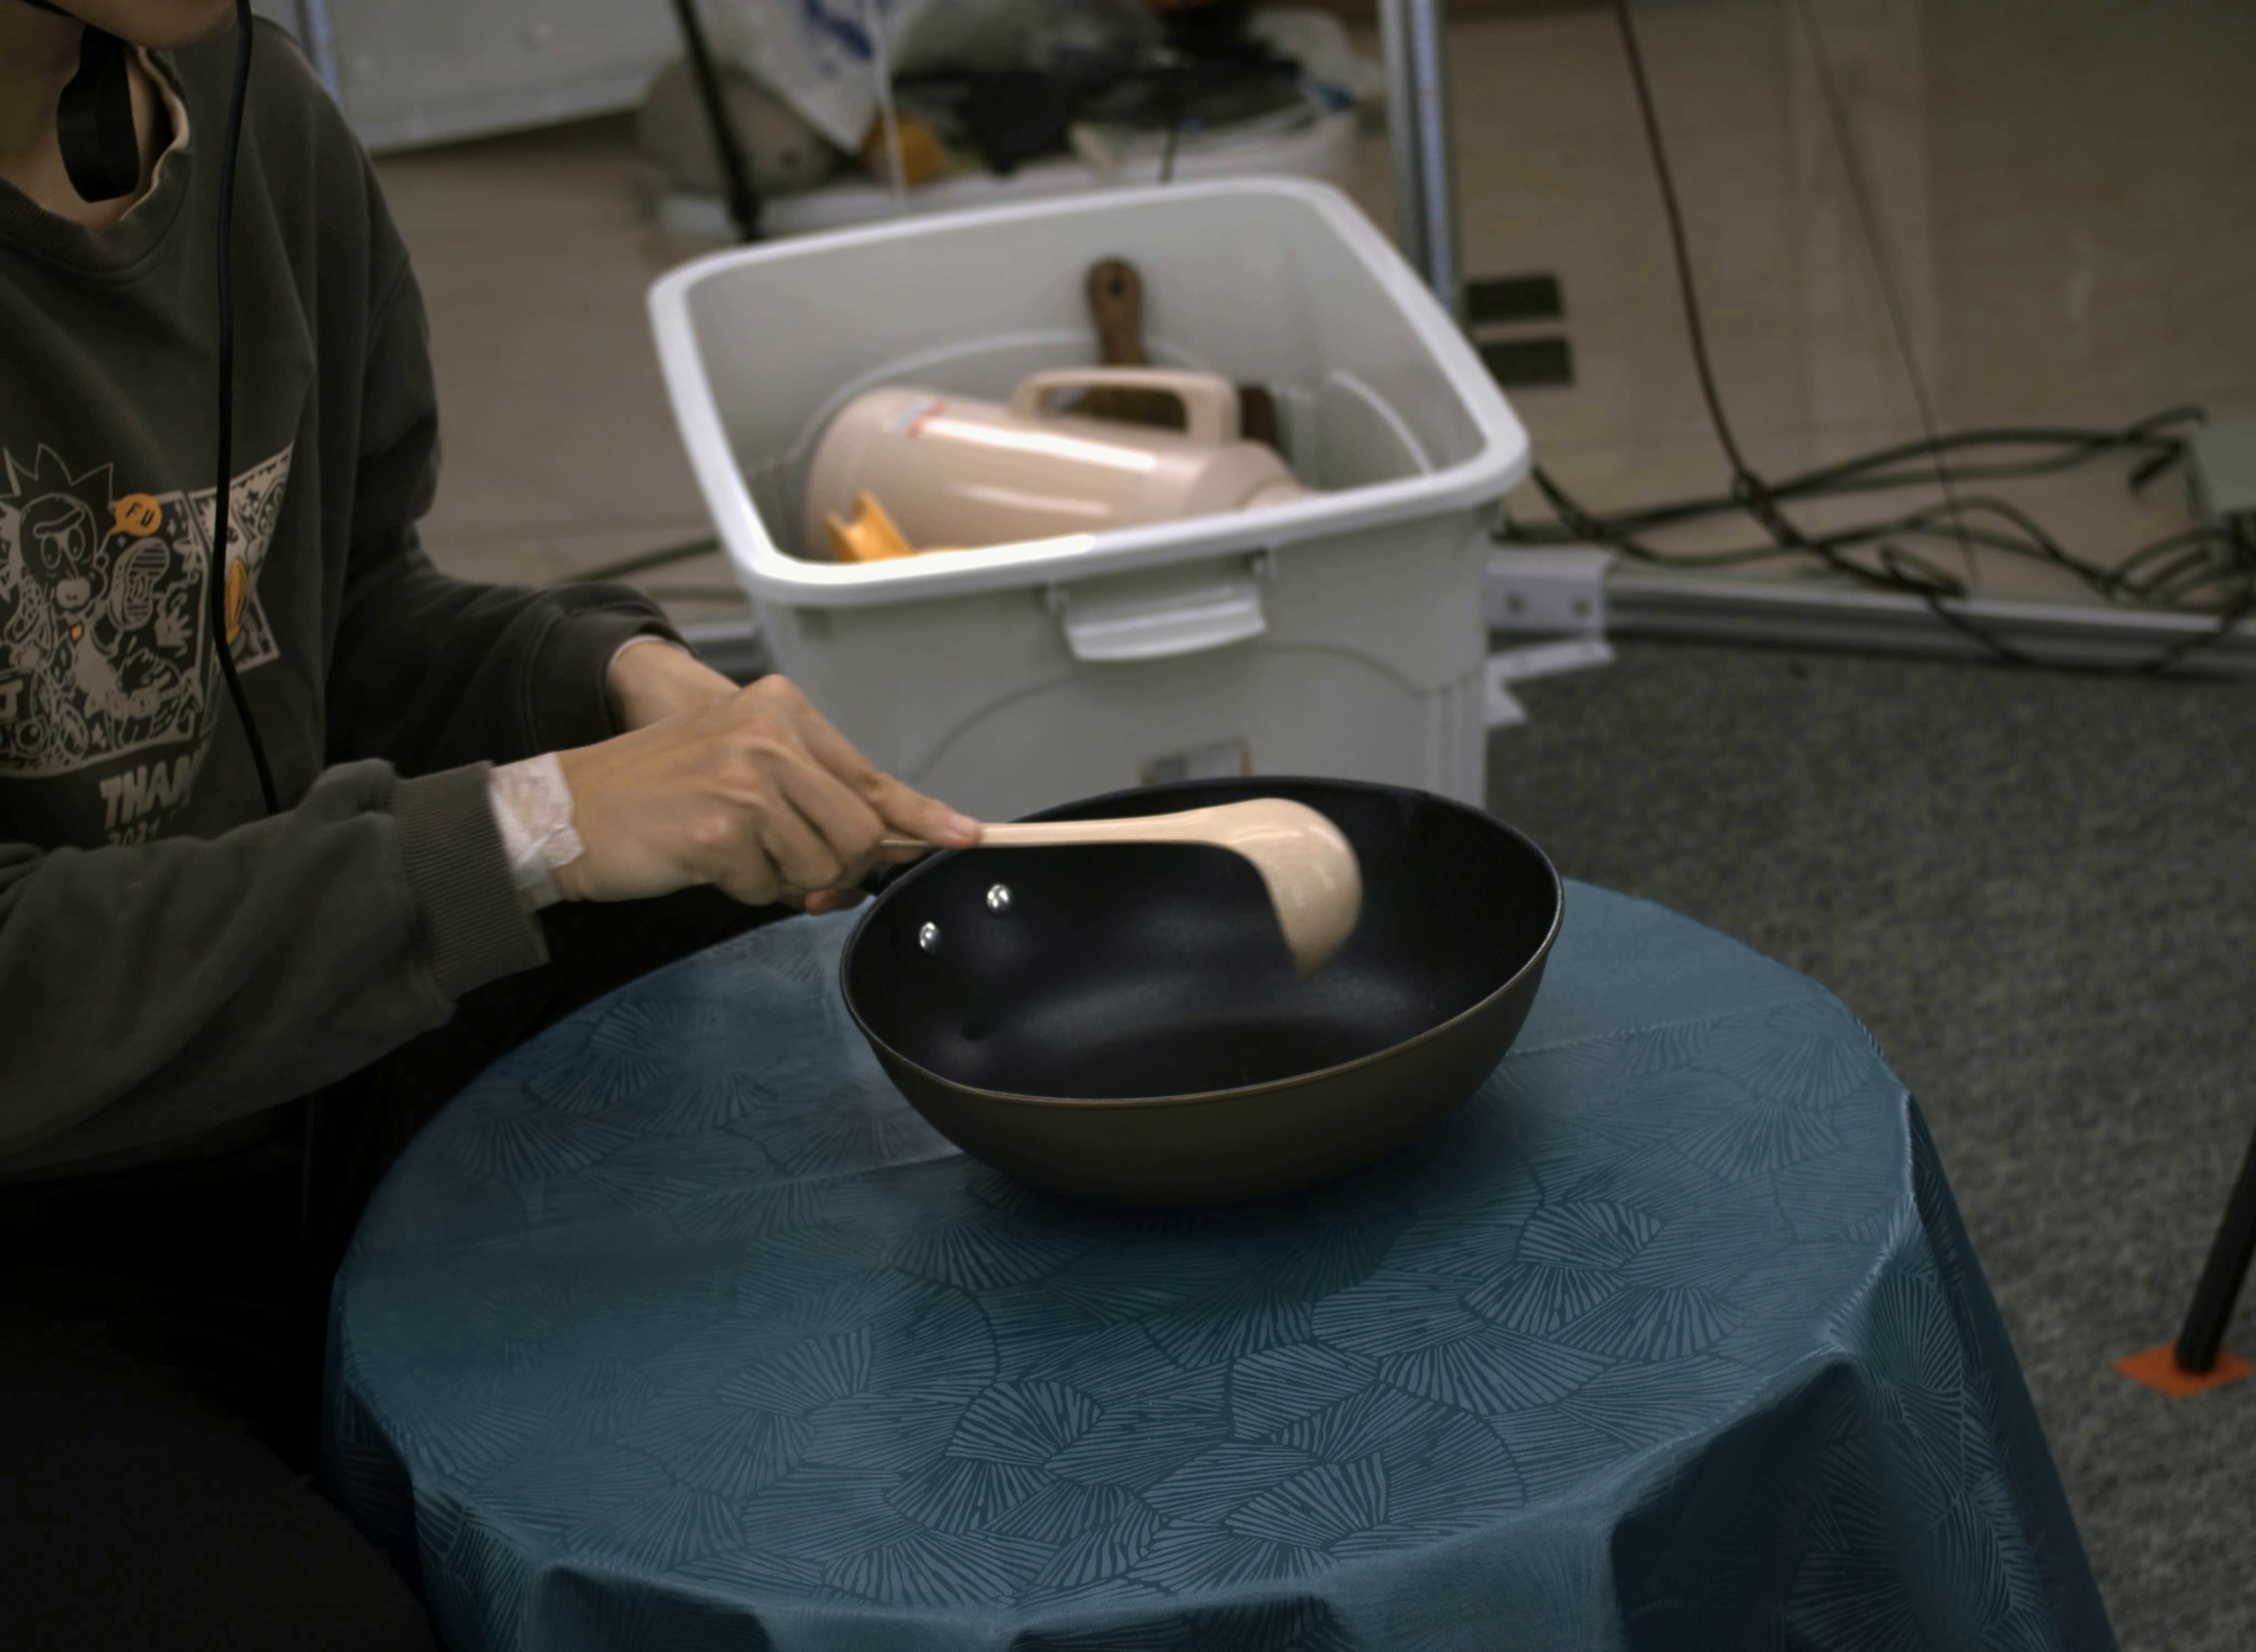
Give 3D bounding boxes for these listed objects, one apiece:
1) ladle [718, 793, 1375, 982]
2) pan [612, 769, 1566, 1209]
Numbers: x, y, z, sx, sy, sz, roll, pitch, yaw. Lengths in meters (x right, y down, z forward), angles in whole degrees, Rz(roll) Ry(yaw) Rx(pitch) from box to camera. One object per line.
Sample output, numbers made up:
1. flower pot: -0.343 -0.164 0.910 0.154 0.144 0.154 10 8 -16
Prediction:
1. ladle: -0.033 0.022 2.153 0.254 0.074 0.071 1 43 -12
2. pan: -0.037 0.057 2.233 0.460 0.088 0.285 14 32 39
